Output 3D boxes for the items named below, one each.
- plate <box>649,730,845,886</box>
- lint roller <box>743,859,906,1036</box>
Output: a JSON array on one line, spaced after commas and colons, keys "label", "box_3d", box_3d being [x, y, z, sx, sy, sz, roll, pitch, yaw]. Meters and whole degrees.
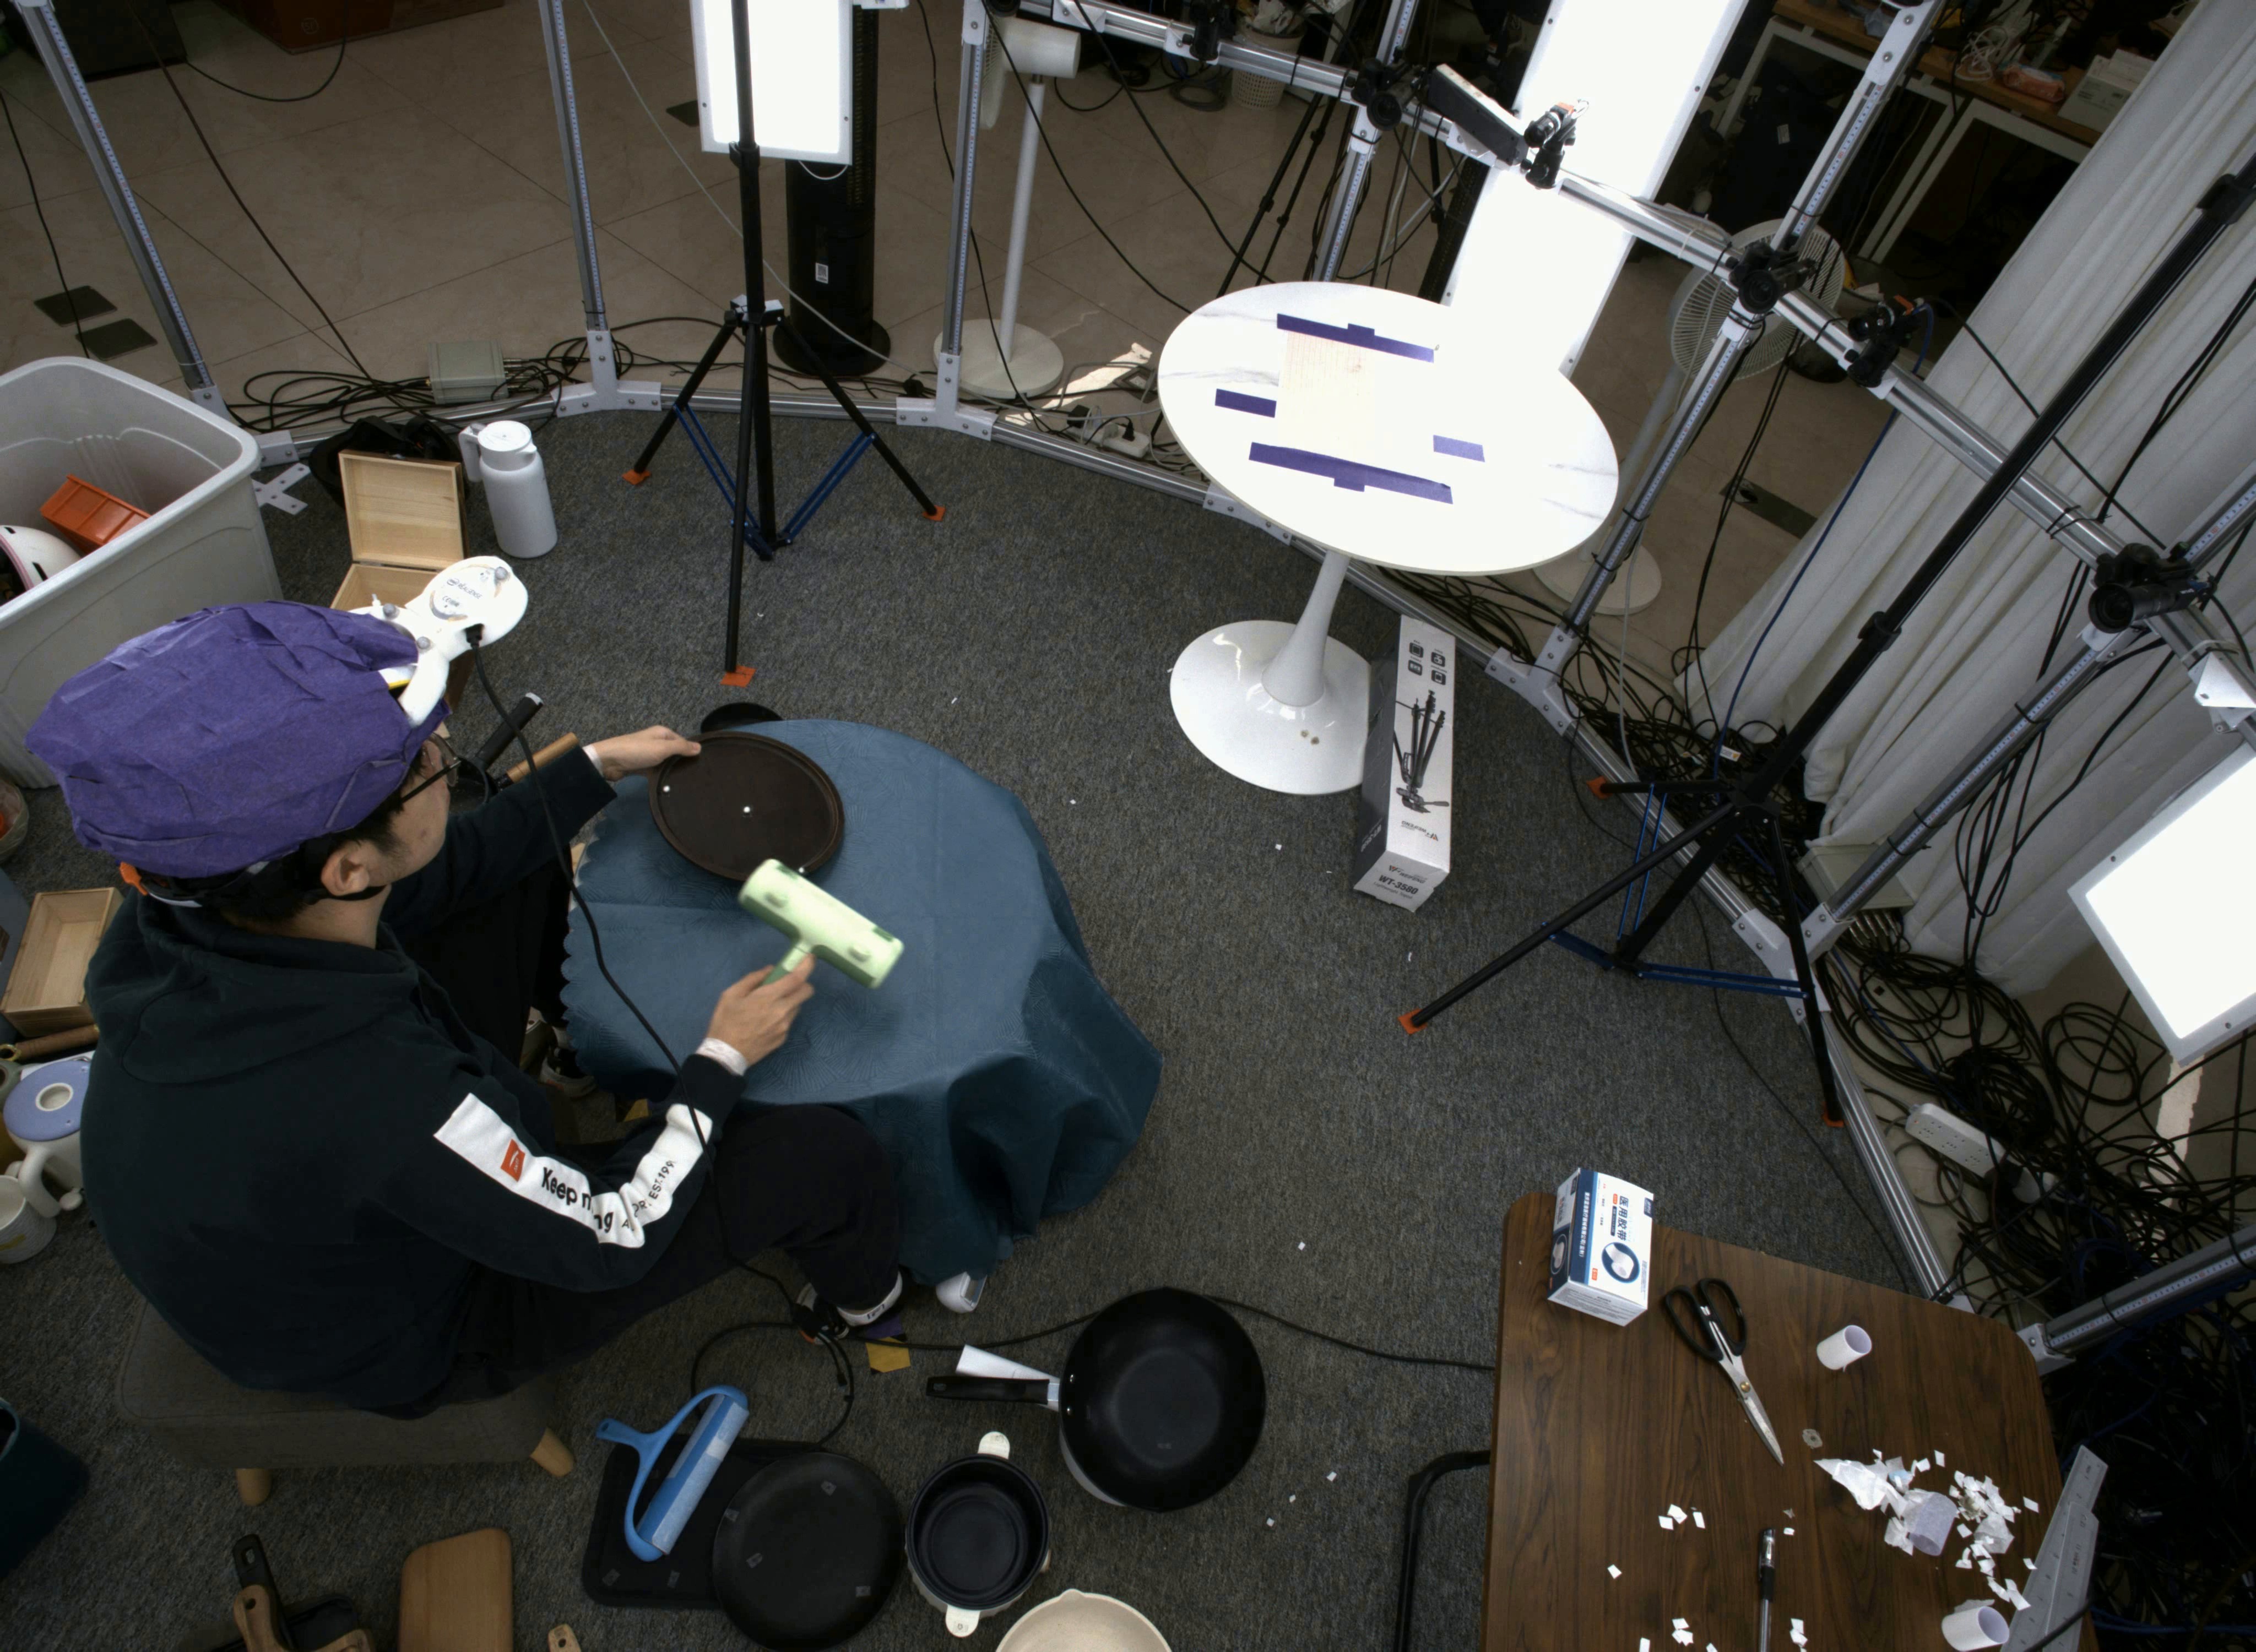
[{"label": "plate", "box_3d": [-0.494, -0.025, 1.679, 0.258, 0.029, 0.250, 19, 46, -19]}, {"label": "lint roller", "box_3d": [-0.385, 0.158, 1.512, 0.199, 0.082, 0.182, 34, 62, -6]}]
